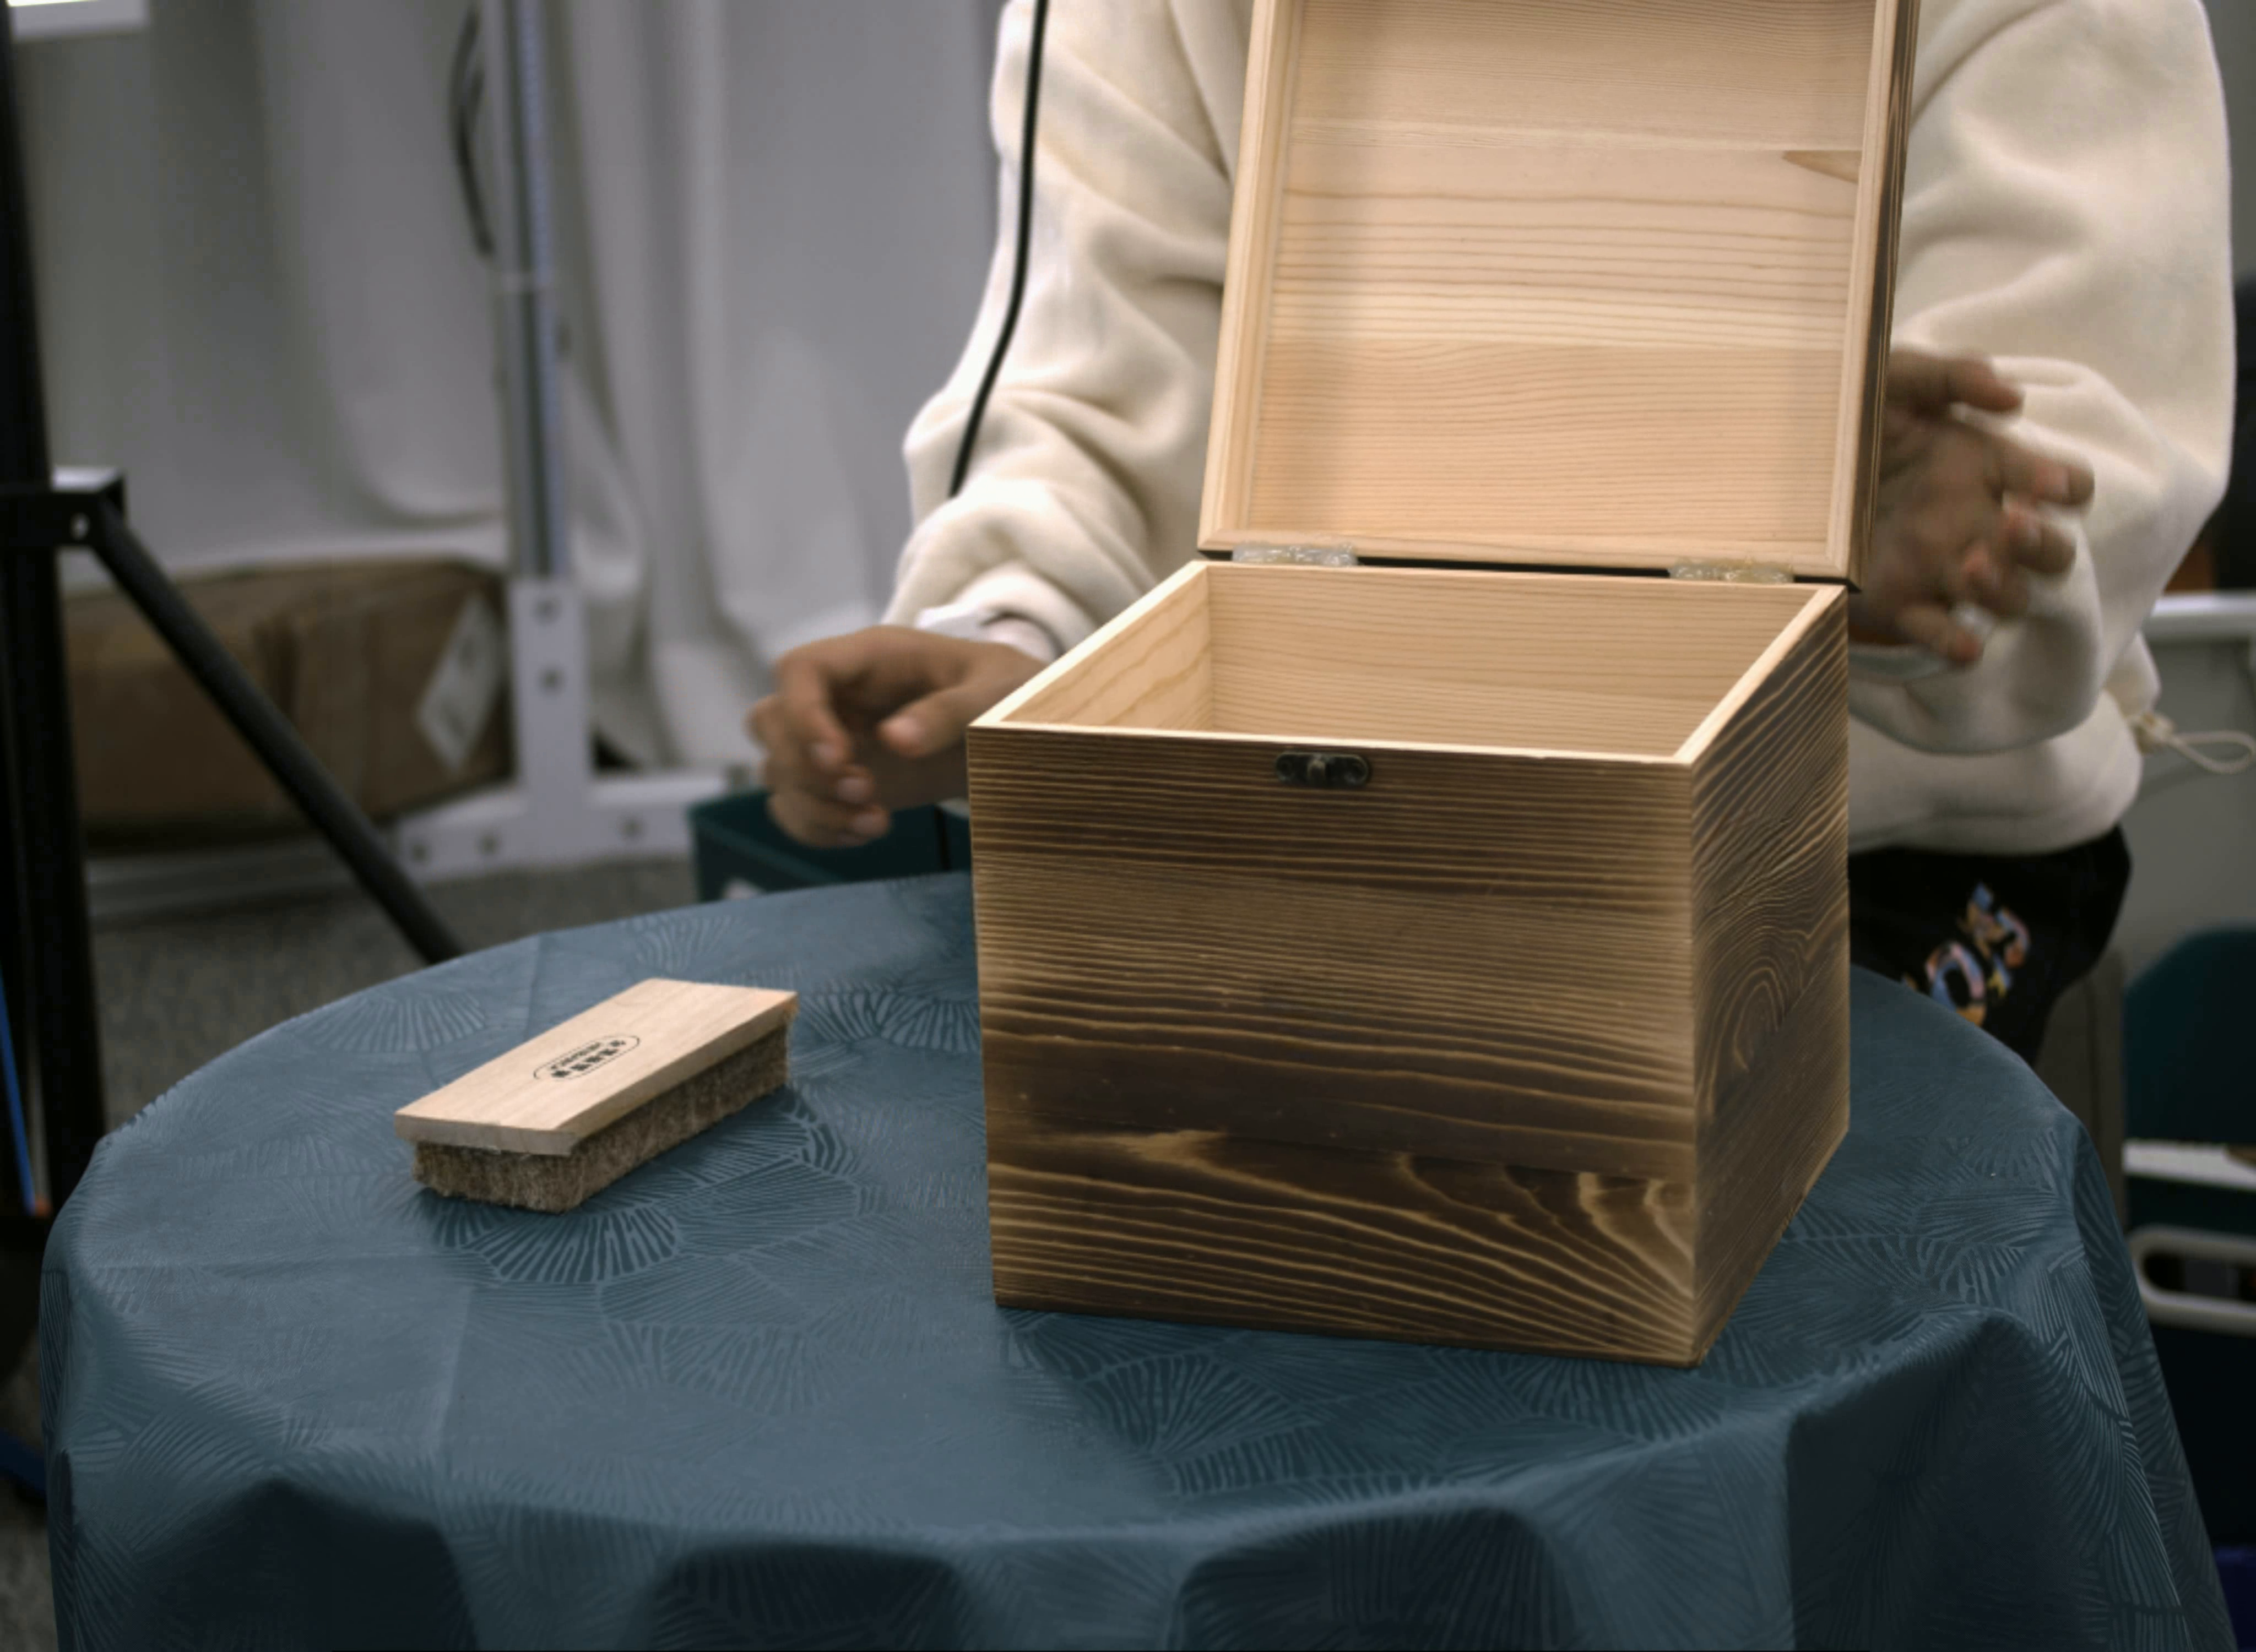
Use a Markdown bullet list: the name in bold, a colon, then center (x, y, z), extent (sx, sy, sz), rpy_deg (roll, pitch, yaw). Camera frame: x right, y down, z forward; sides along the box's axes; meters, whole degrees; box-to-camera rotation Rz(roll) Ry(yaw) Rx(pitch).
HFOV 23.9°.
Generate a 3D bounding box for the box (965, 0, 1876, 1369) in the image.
- **box**: center (0.096, -0.075, 1.524), extent (0.211, 0.375, 0.318), rpy_deg (2, 16, 19)

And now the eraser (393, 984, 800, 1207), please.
- **eraser**: center (-0.160, 0.081, 1.627), extent (0.058, 0.029, 0.137), rpy_deg (4, 16, 31)
